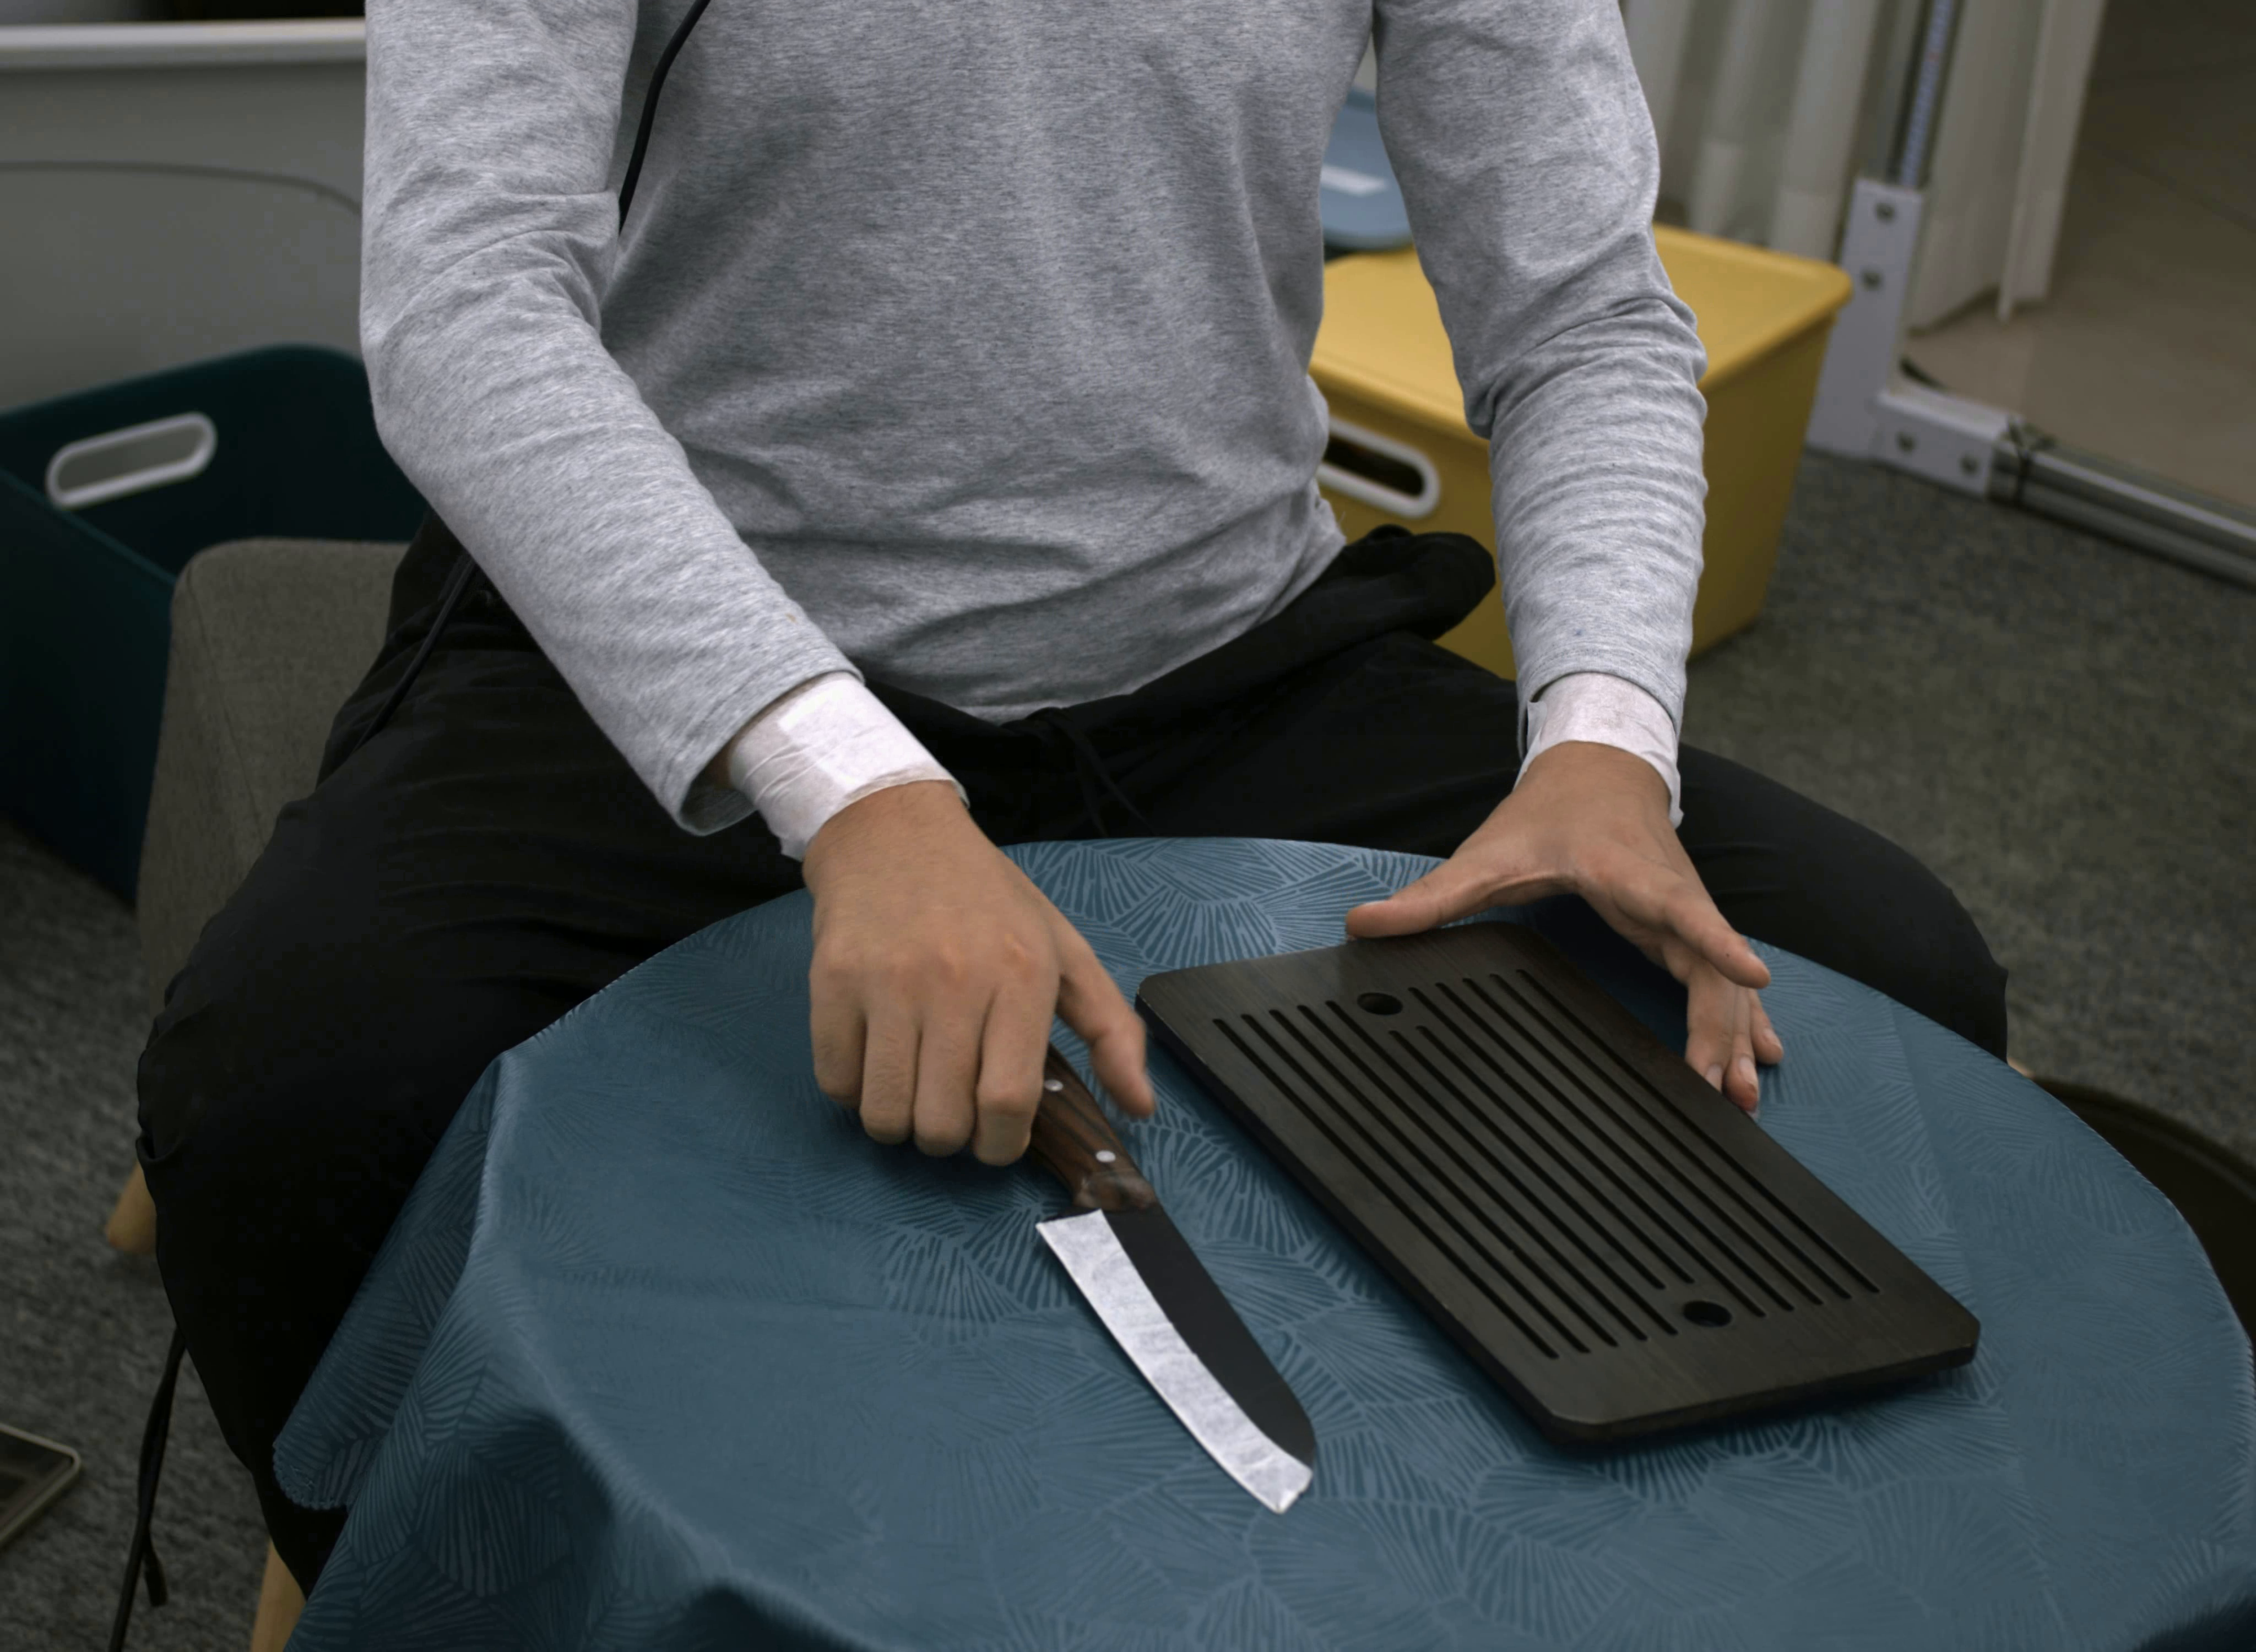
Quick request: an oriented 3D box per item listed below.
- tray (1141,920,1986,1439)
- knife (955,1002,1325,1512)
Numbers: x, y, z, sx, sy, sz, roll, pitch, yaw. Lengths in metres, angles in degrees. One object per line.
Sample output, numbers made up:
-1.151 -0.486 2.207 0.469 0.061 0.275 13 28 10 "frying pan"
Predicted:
0.143 0.118 1.830 0.169 0.018 0.309 -8 30 -26 "tray"
0.000 0.140 1.757 0.050 0.020 0.292 -9 33 -18 "knife"
